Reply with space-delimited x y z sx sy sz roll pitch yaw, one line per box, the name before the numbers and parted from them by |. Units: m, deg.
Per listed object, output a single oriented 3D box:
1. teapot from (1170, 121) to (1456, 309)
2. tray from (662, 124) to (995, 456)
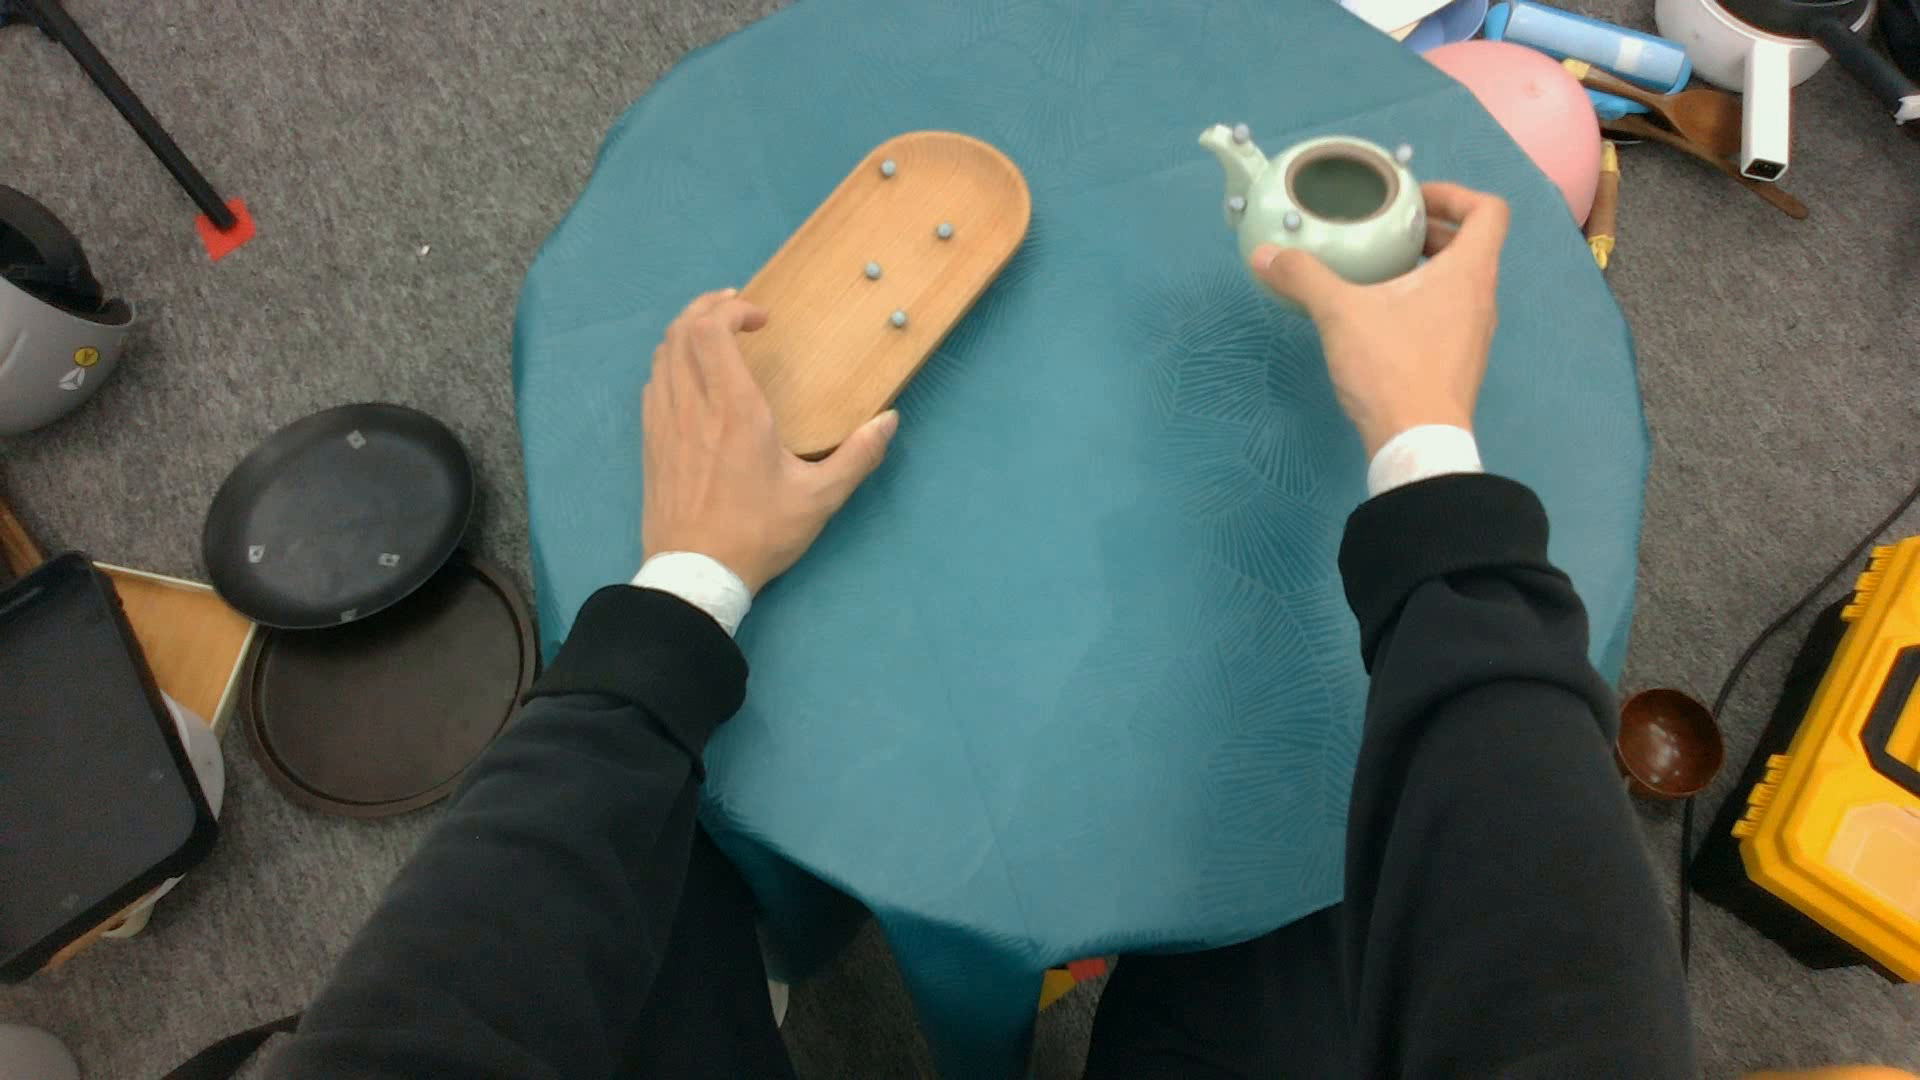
teapot | 0.169 -0.157 0.678 0.144 0.074 0.089 25 62 20
tray | -0.065 -0.136 0.728 0.101 0.020 0.232 29 66 12
